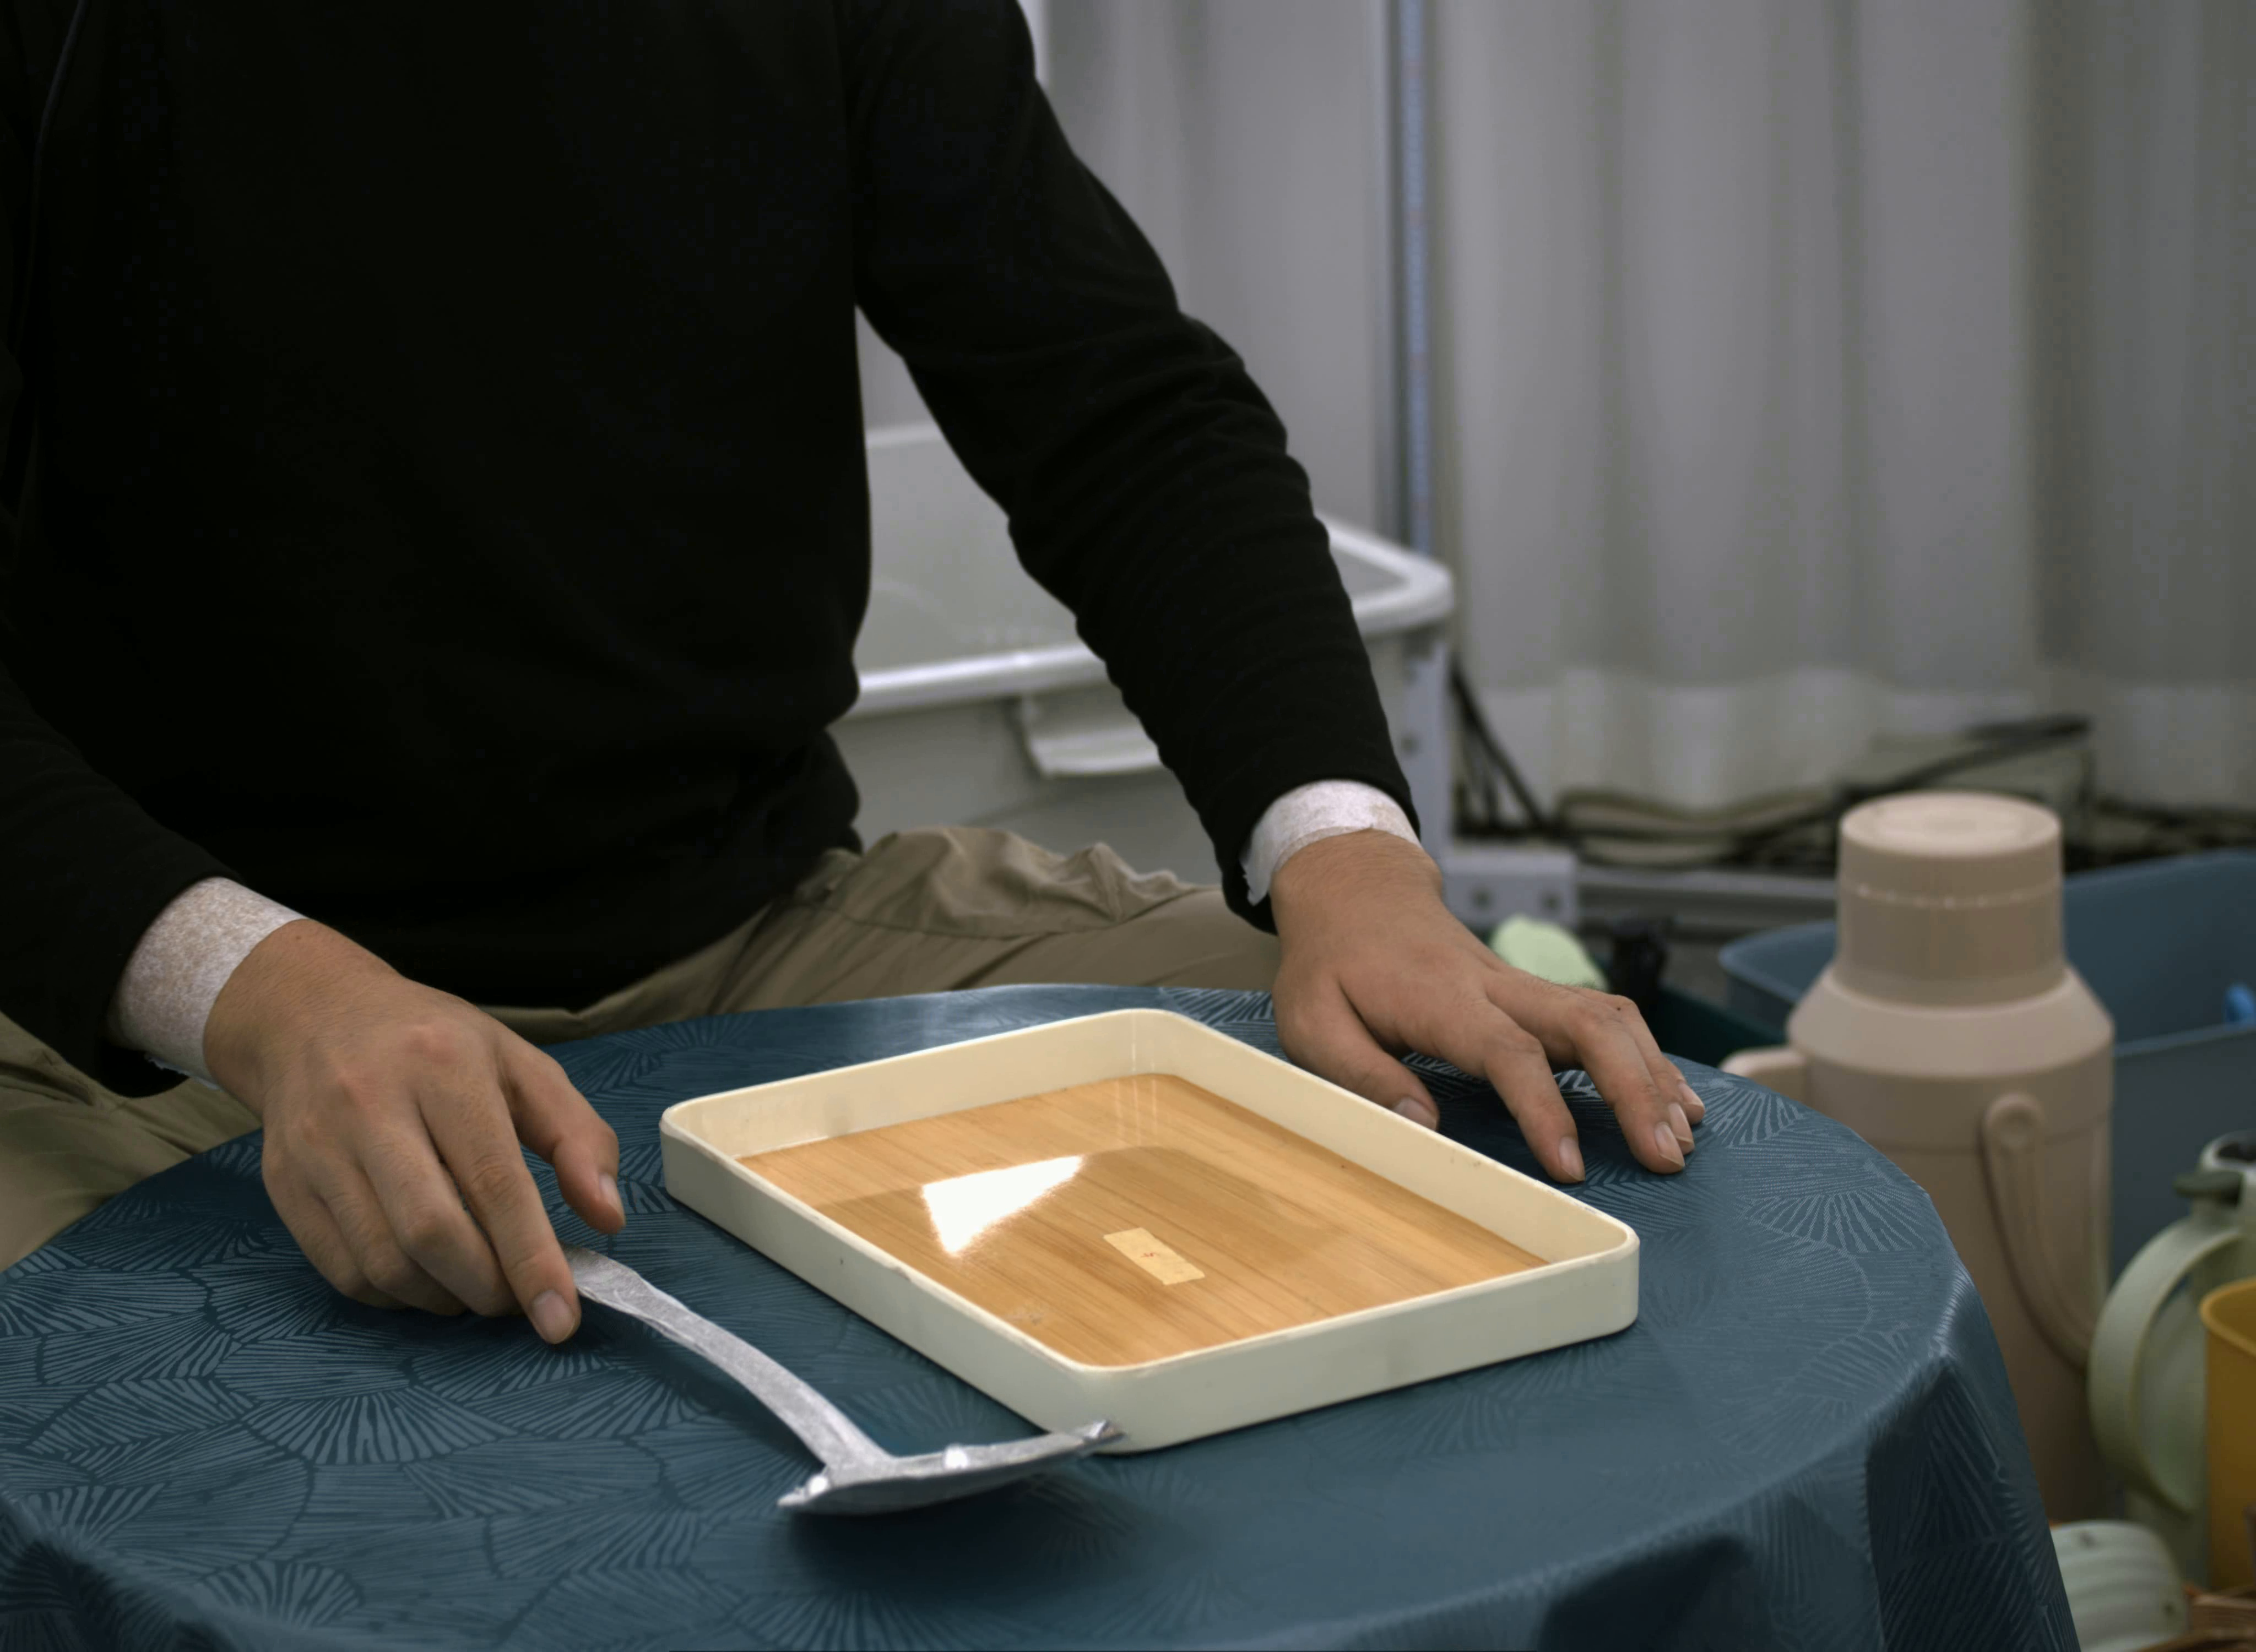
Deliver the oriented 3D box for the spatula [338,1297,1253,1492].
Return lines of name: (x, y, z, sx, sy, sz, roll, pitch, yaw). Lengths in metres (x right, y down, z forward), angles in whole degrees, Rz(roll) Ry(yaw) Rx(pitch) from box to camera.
spatula: (-0.117, 0.148, 1.533, 0.098, 0.045, 0.366, 9, 0, -43)

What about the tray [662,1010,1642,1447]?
tray: (0.001, 0.117, 1.654, 0.191, 0.027, 0.302, -11, 16, -27)
